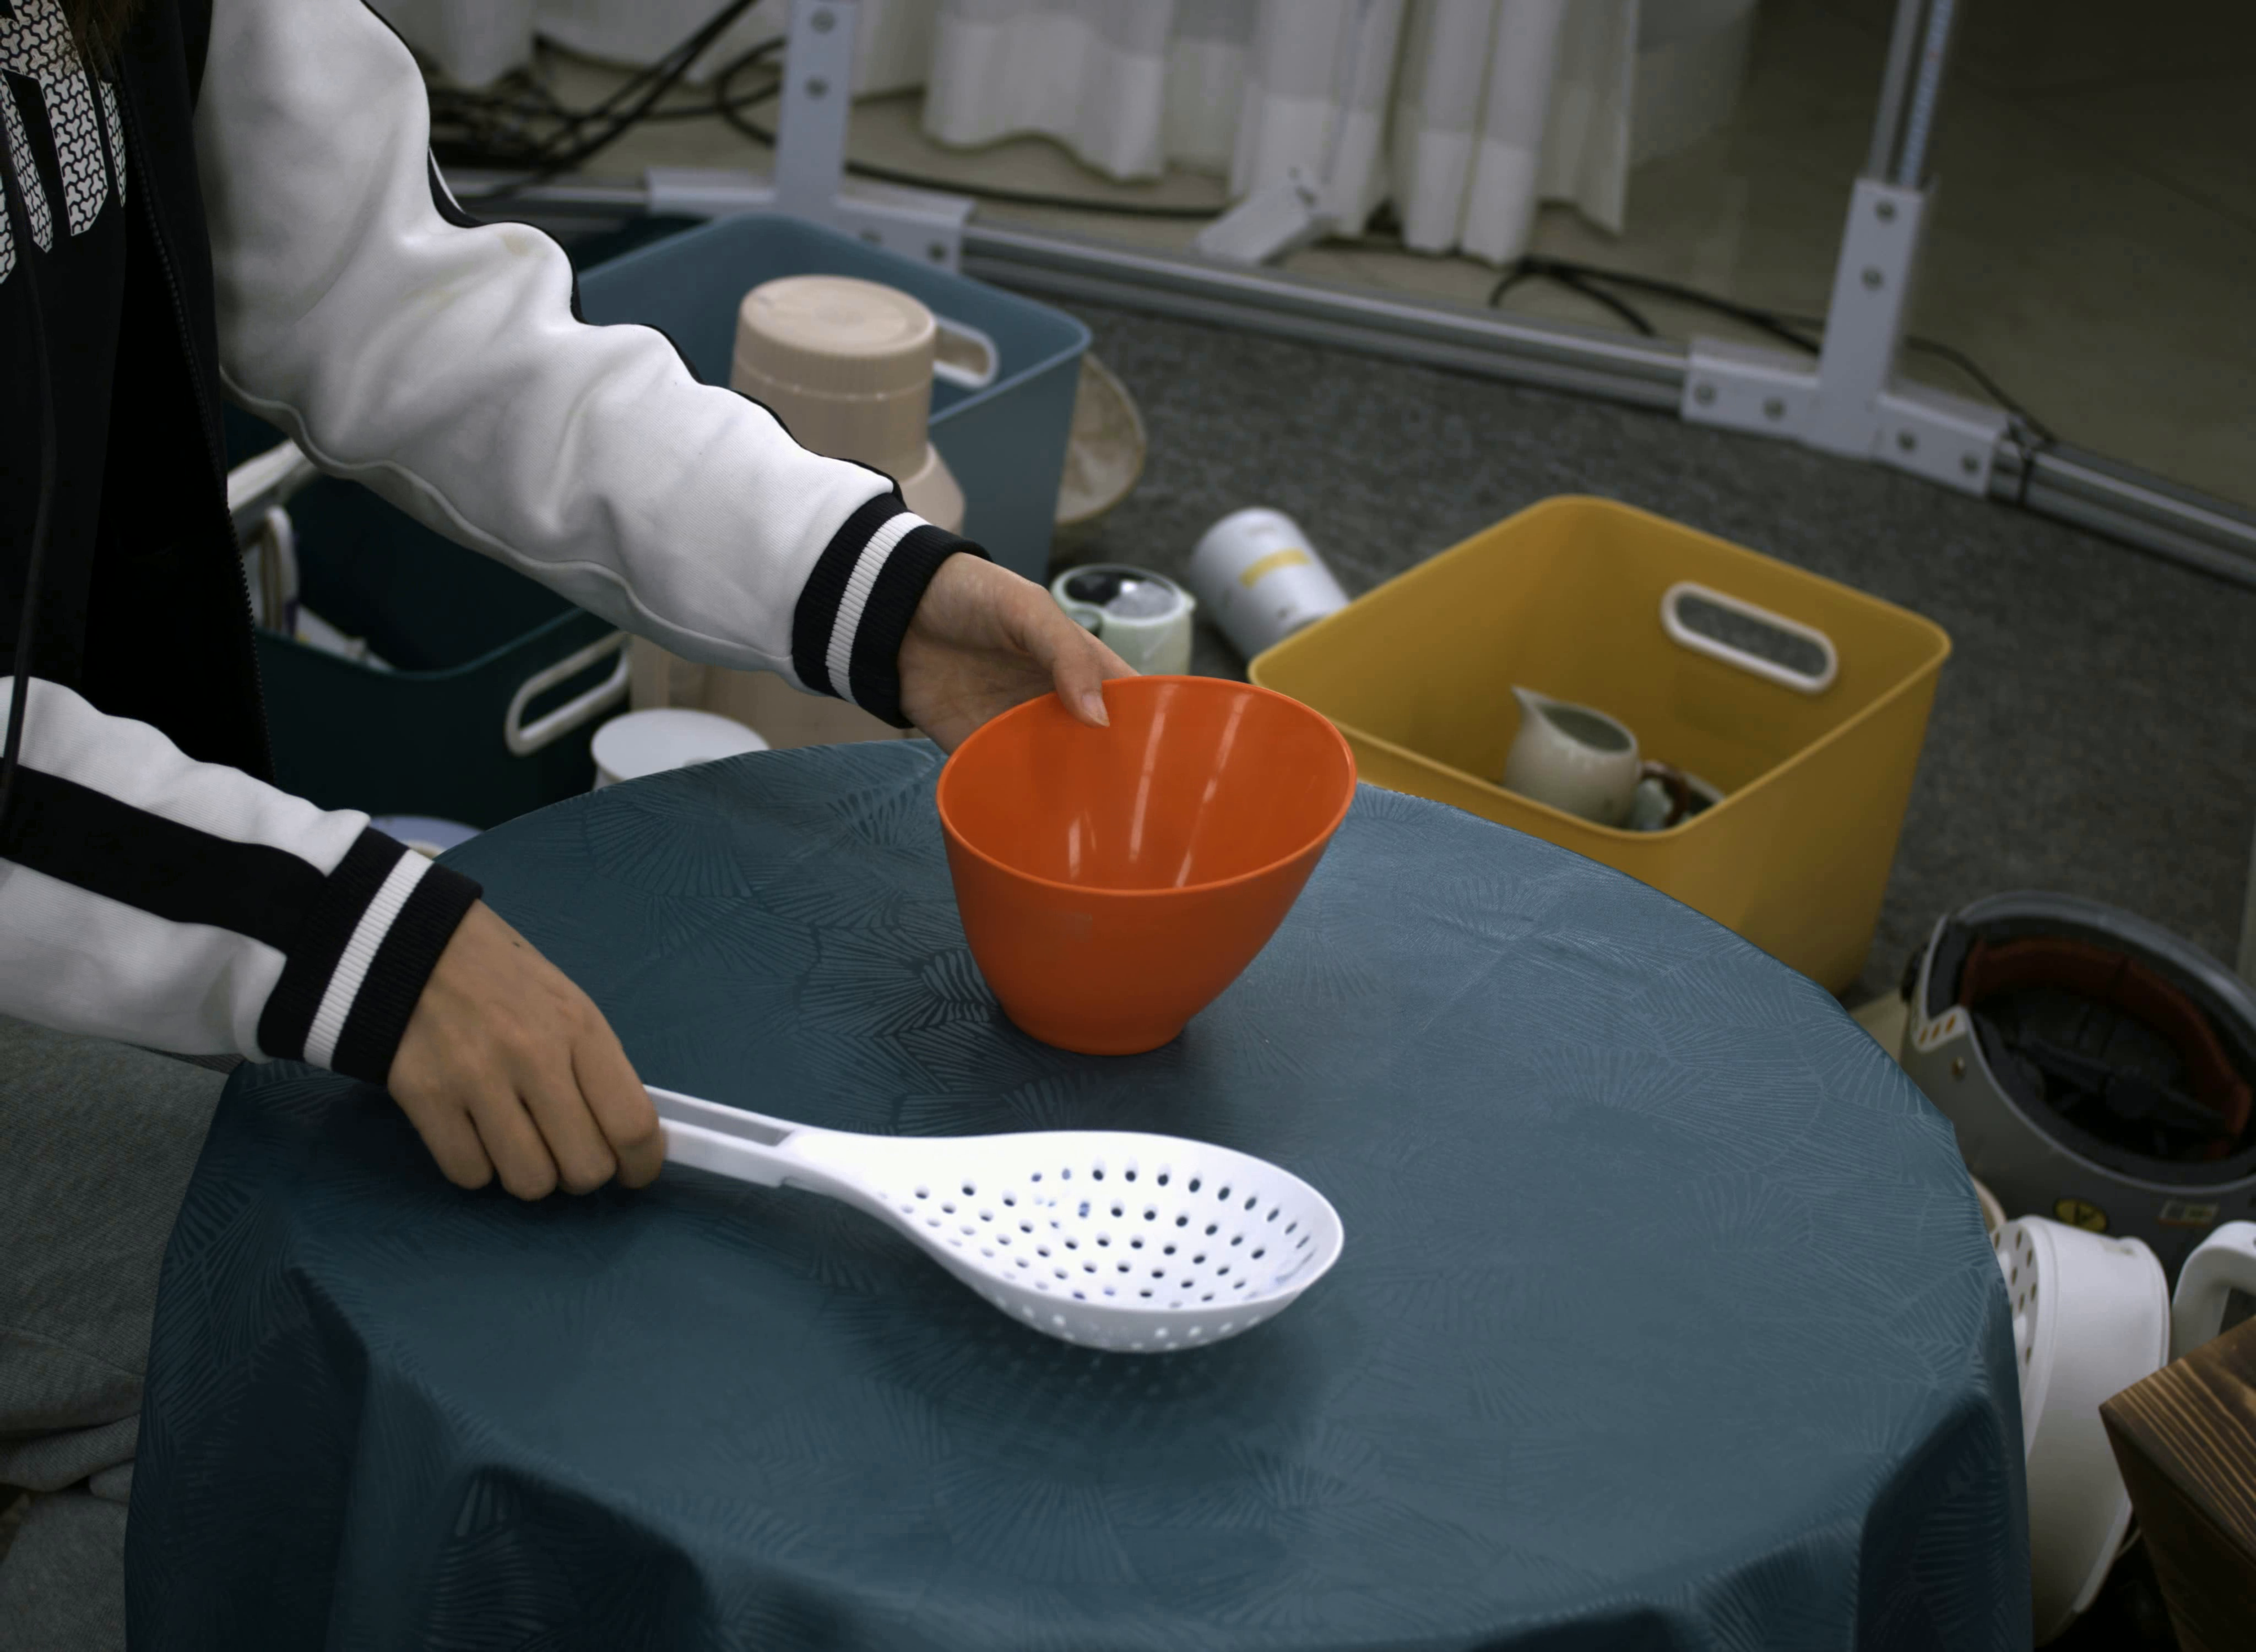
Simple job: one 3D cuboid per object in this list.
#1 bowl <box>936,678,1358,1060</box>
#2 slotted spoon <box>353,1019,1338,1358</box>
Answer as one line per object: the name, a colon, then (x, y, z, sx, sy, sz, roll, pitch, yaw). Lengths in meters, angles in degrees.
bowl: (0.003, 0.021, 1.894, 0.147, 0.104, 0.149, 5, 29, -3)
slotted spoon: (-0.099, 0.112, 1.749, 0.351, 0.045, 0.136, 17, 24, 19)
